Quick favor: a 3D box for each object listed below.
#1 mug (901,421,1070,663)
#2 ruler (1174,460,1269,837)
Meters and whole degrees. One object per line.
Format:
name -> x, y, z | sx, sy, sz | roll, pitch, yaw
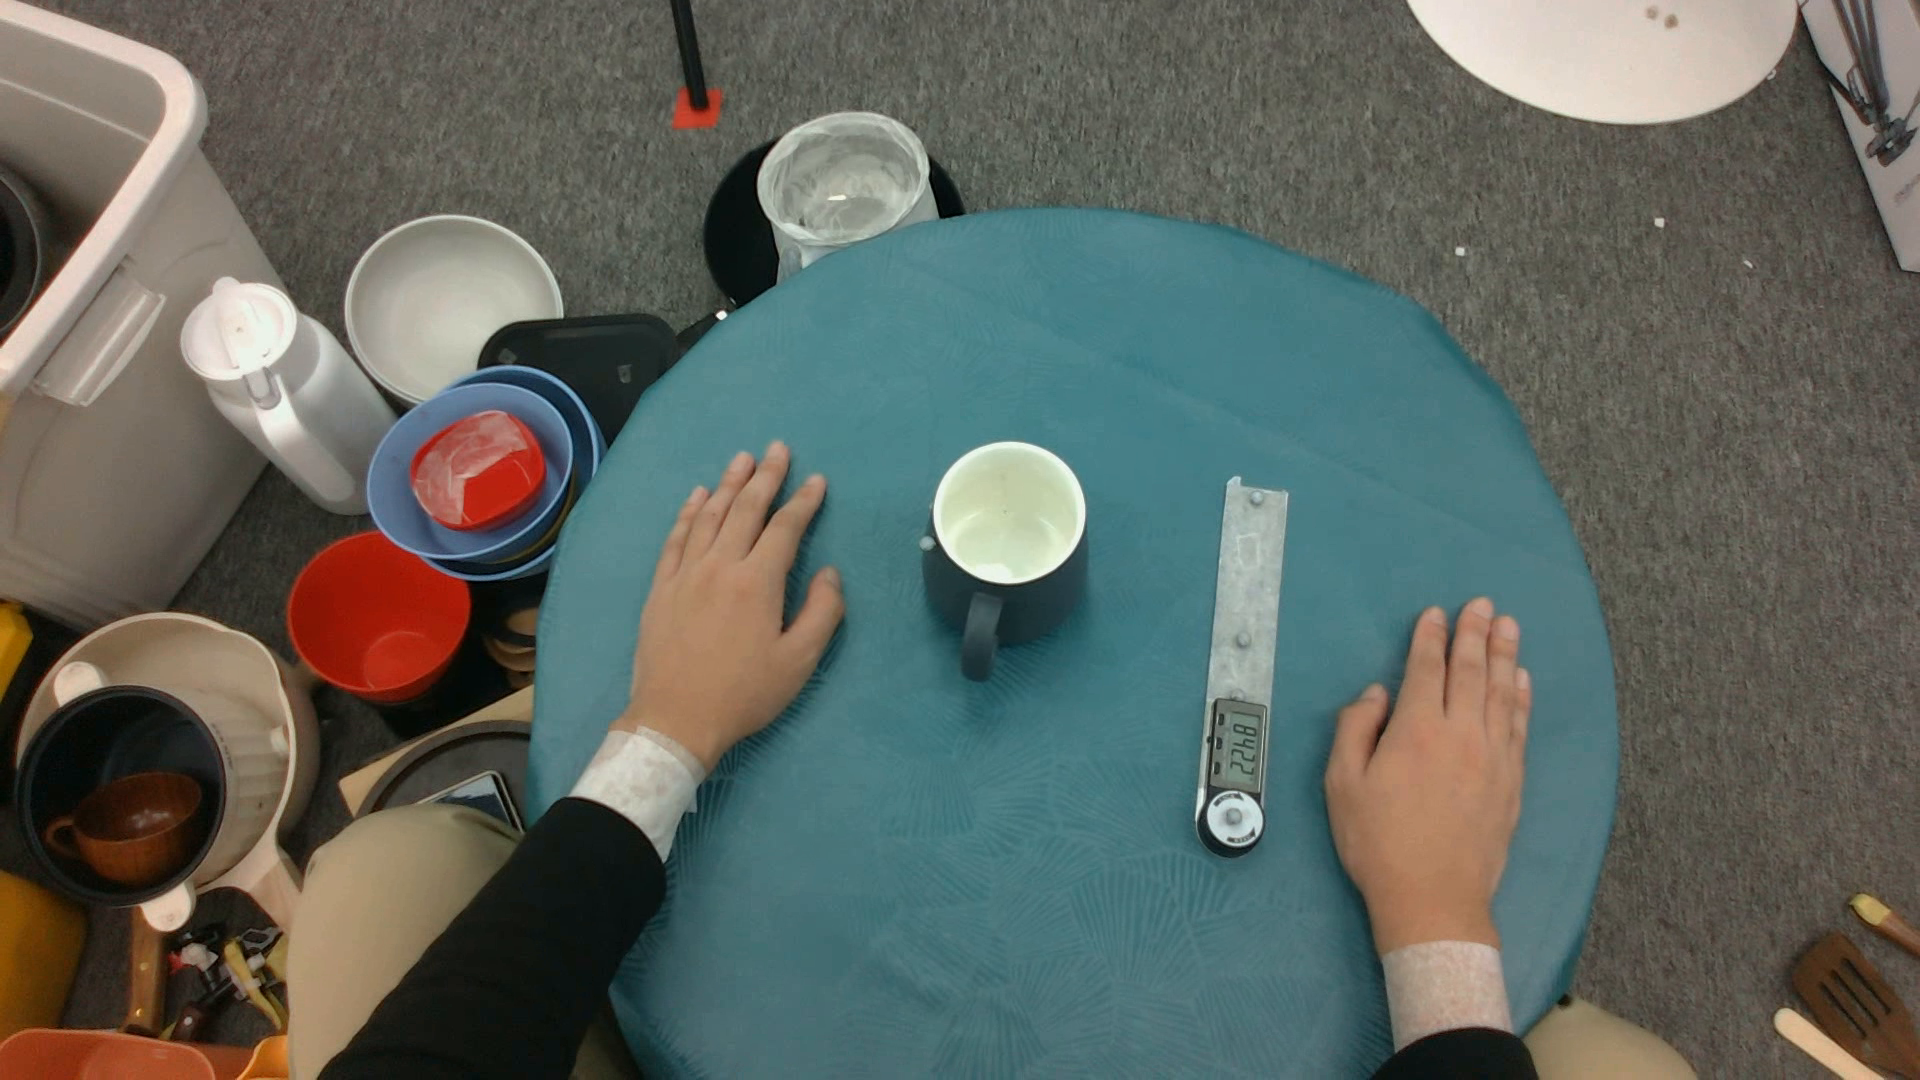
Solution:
mug -> 0.010, 0.005, 0.737 | 0.093, 0.089, 0.123 | 14, 67, 6
ruler -> 0.147, 0.053, 0.758 | 0.038, 0.024, 0.219 | 11, 68, -4
